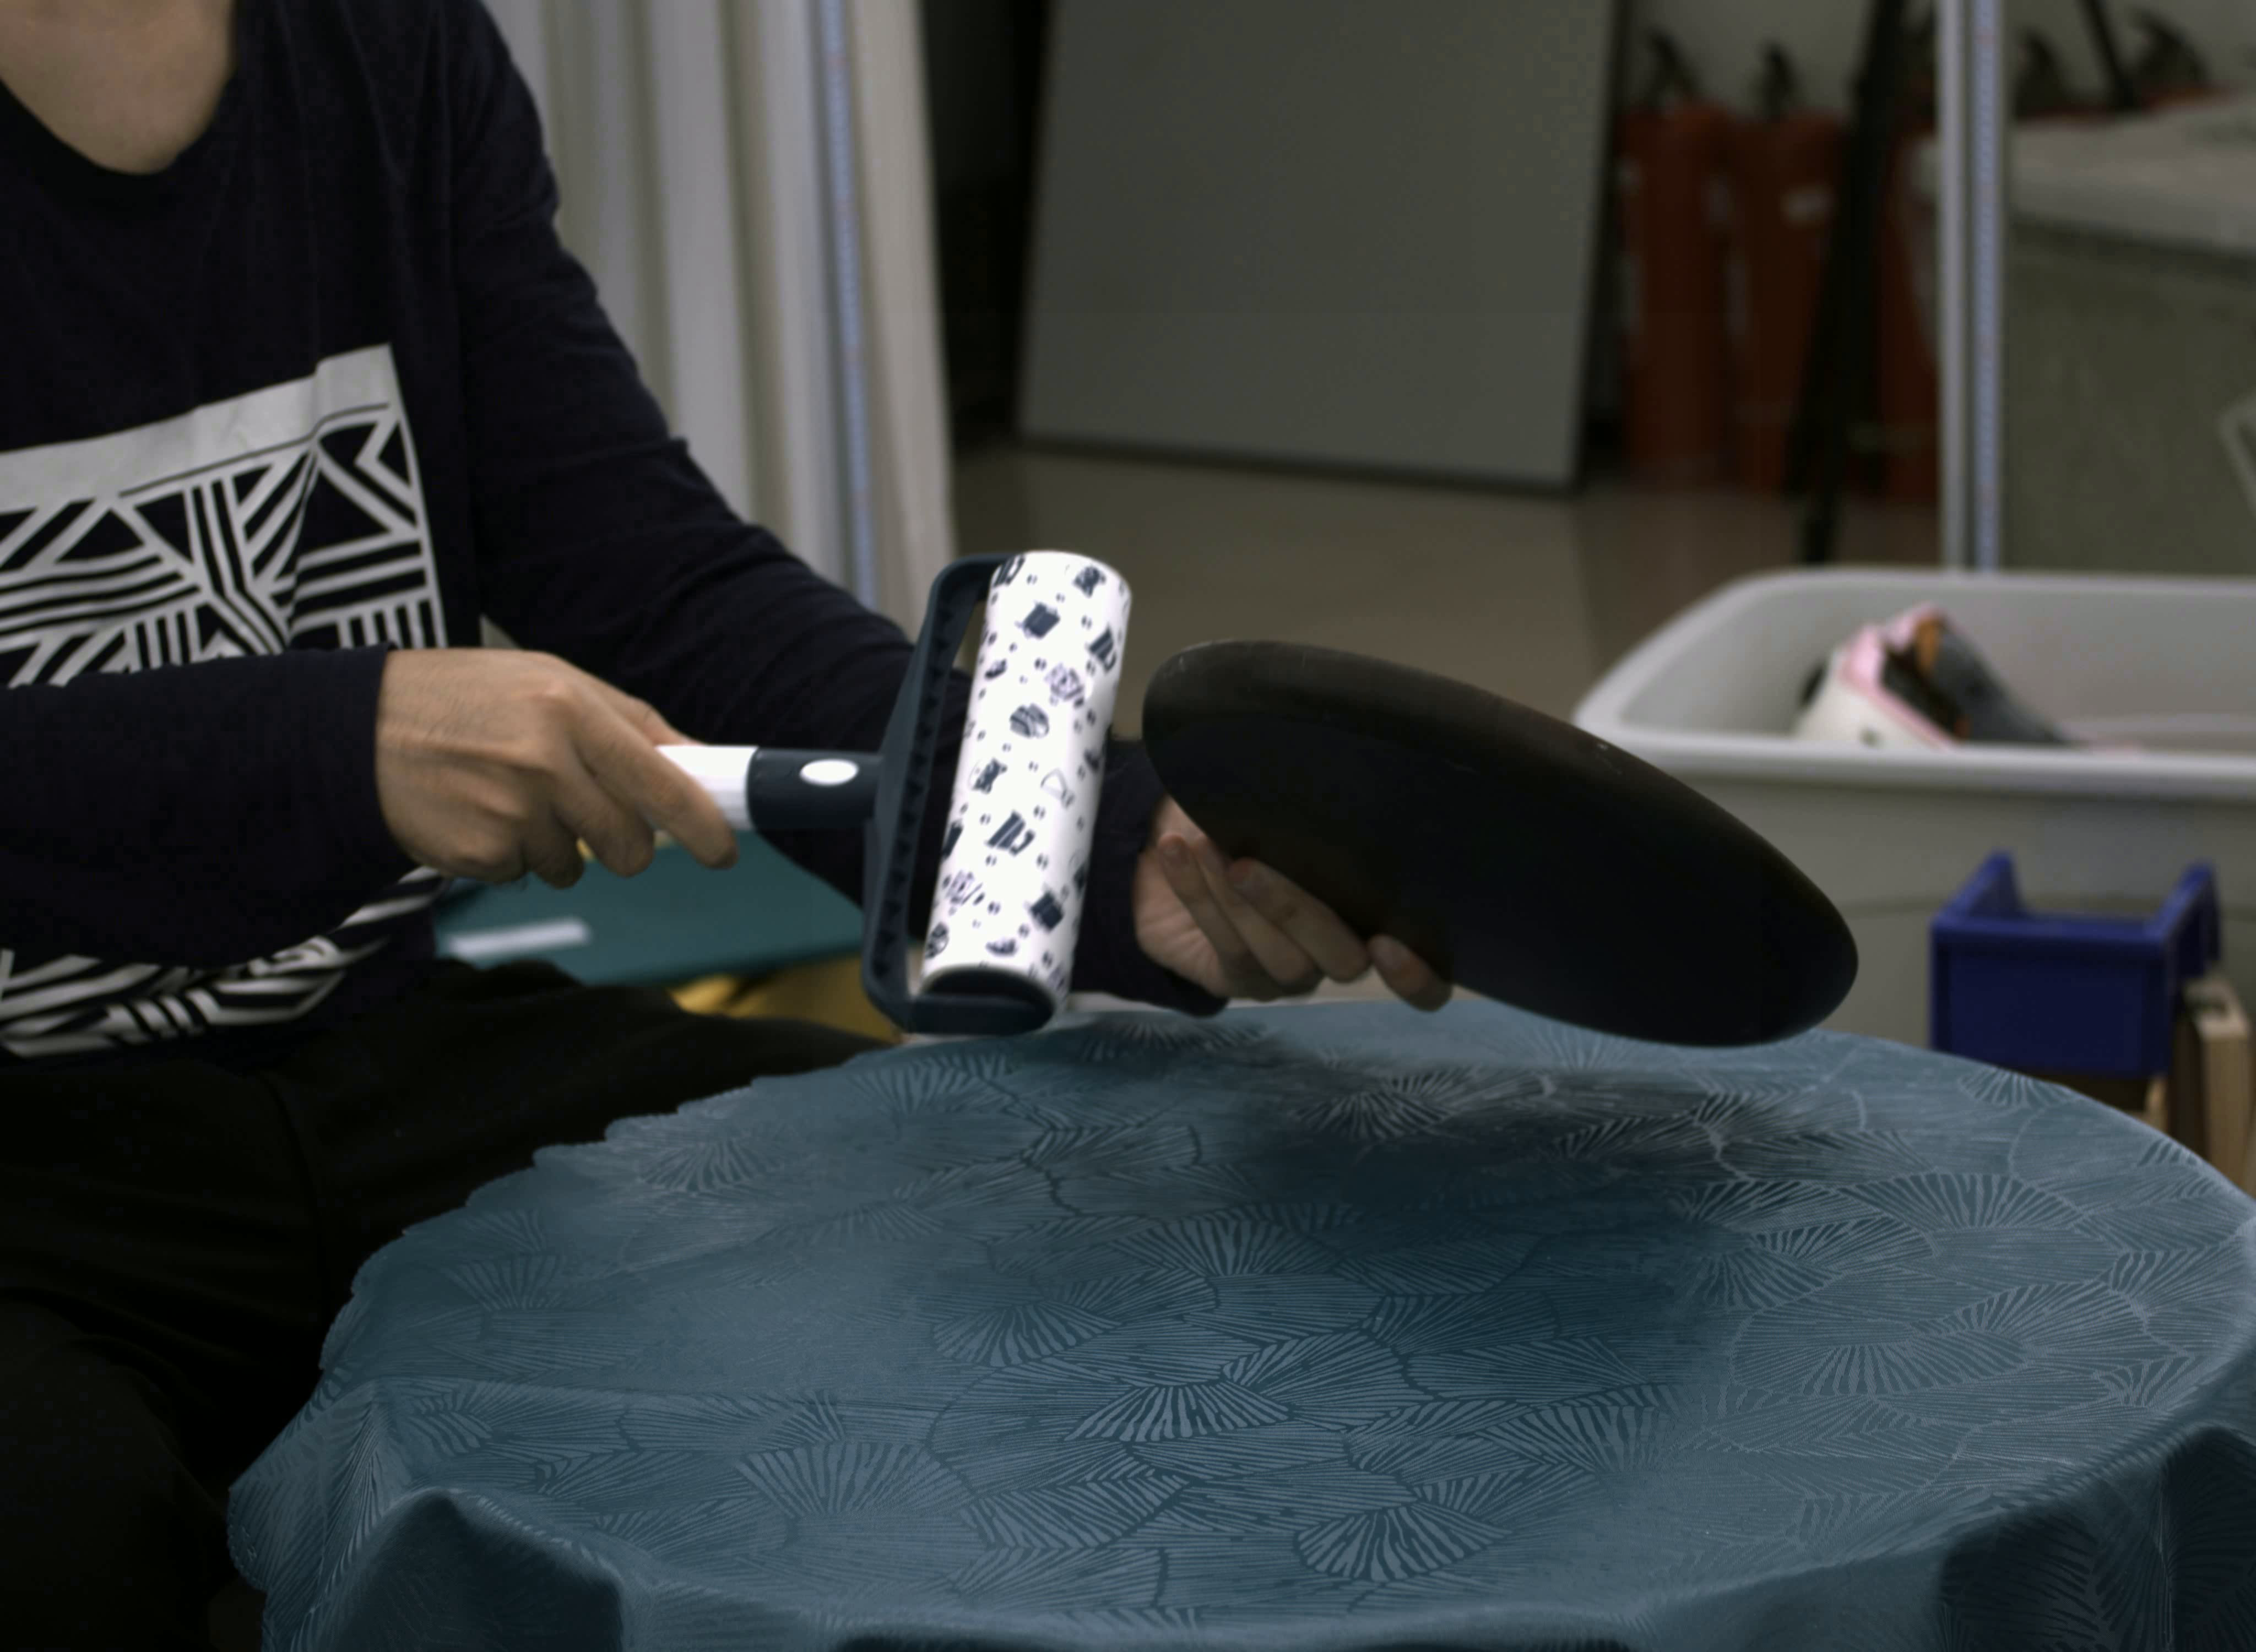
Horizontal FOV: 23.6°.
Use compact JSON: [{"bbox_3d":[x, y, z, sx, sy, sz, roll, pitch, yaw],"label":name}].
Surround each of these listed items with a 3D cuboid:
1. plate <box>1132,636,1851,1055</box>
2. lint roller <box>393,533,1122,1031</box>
[{"bbox_3d":[0.116,0.010,1.763,0.253,0.029,0.255,23,-20,8],"label":"plate"},{"bbox_3d":[-0.129,-0.013,1.781,0.246,0.178,0.050,-1,-32,15],"label":"lint roller"}]
